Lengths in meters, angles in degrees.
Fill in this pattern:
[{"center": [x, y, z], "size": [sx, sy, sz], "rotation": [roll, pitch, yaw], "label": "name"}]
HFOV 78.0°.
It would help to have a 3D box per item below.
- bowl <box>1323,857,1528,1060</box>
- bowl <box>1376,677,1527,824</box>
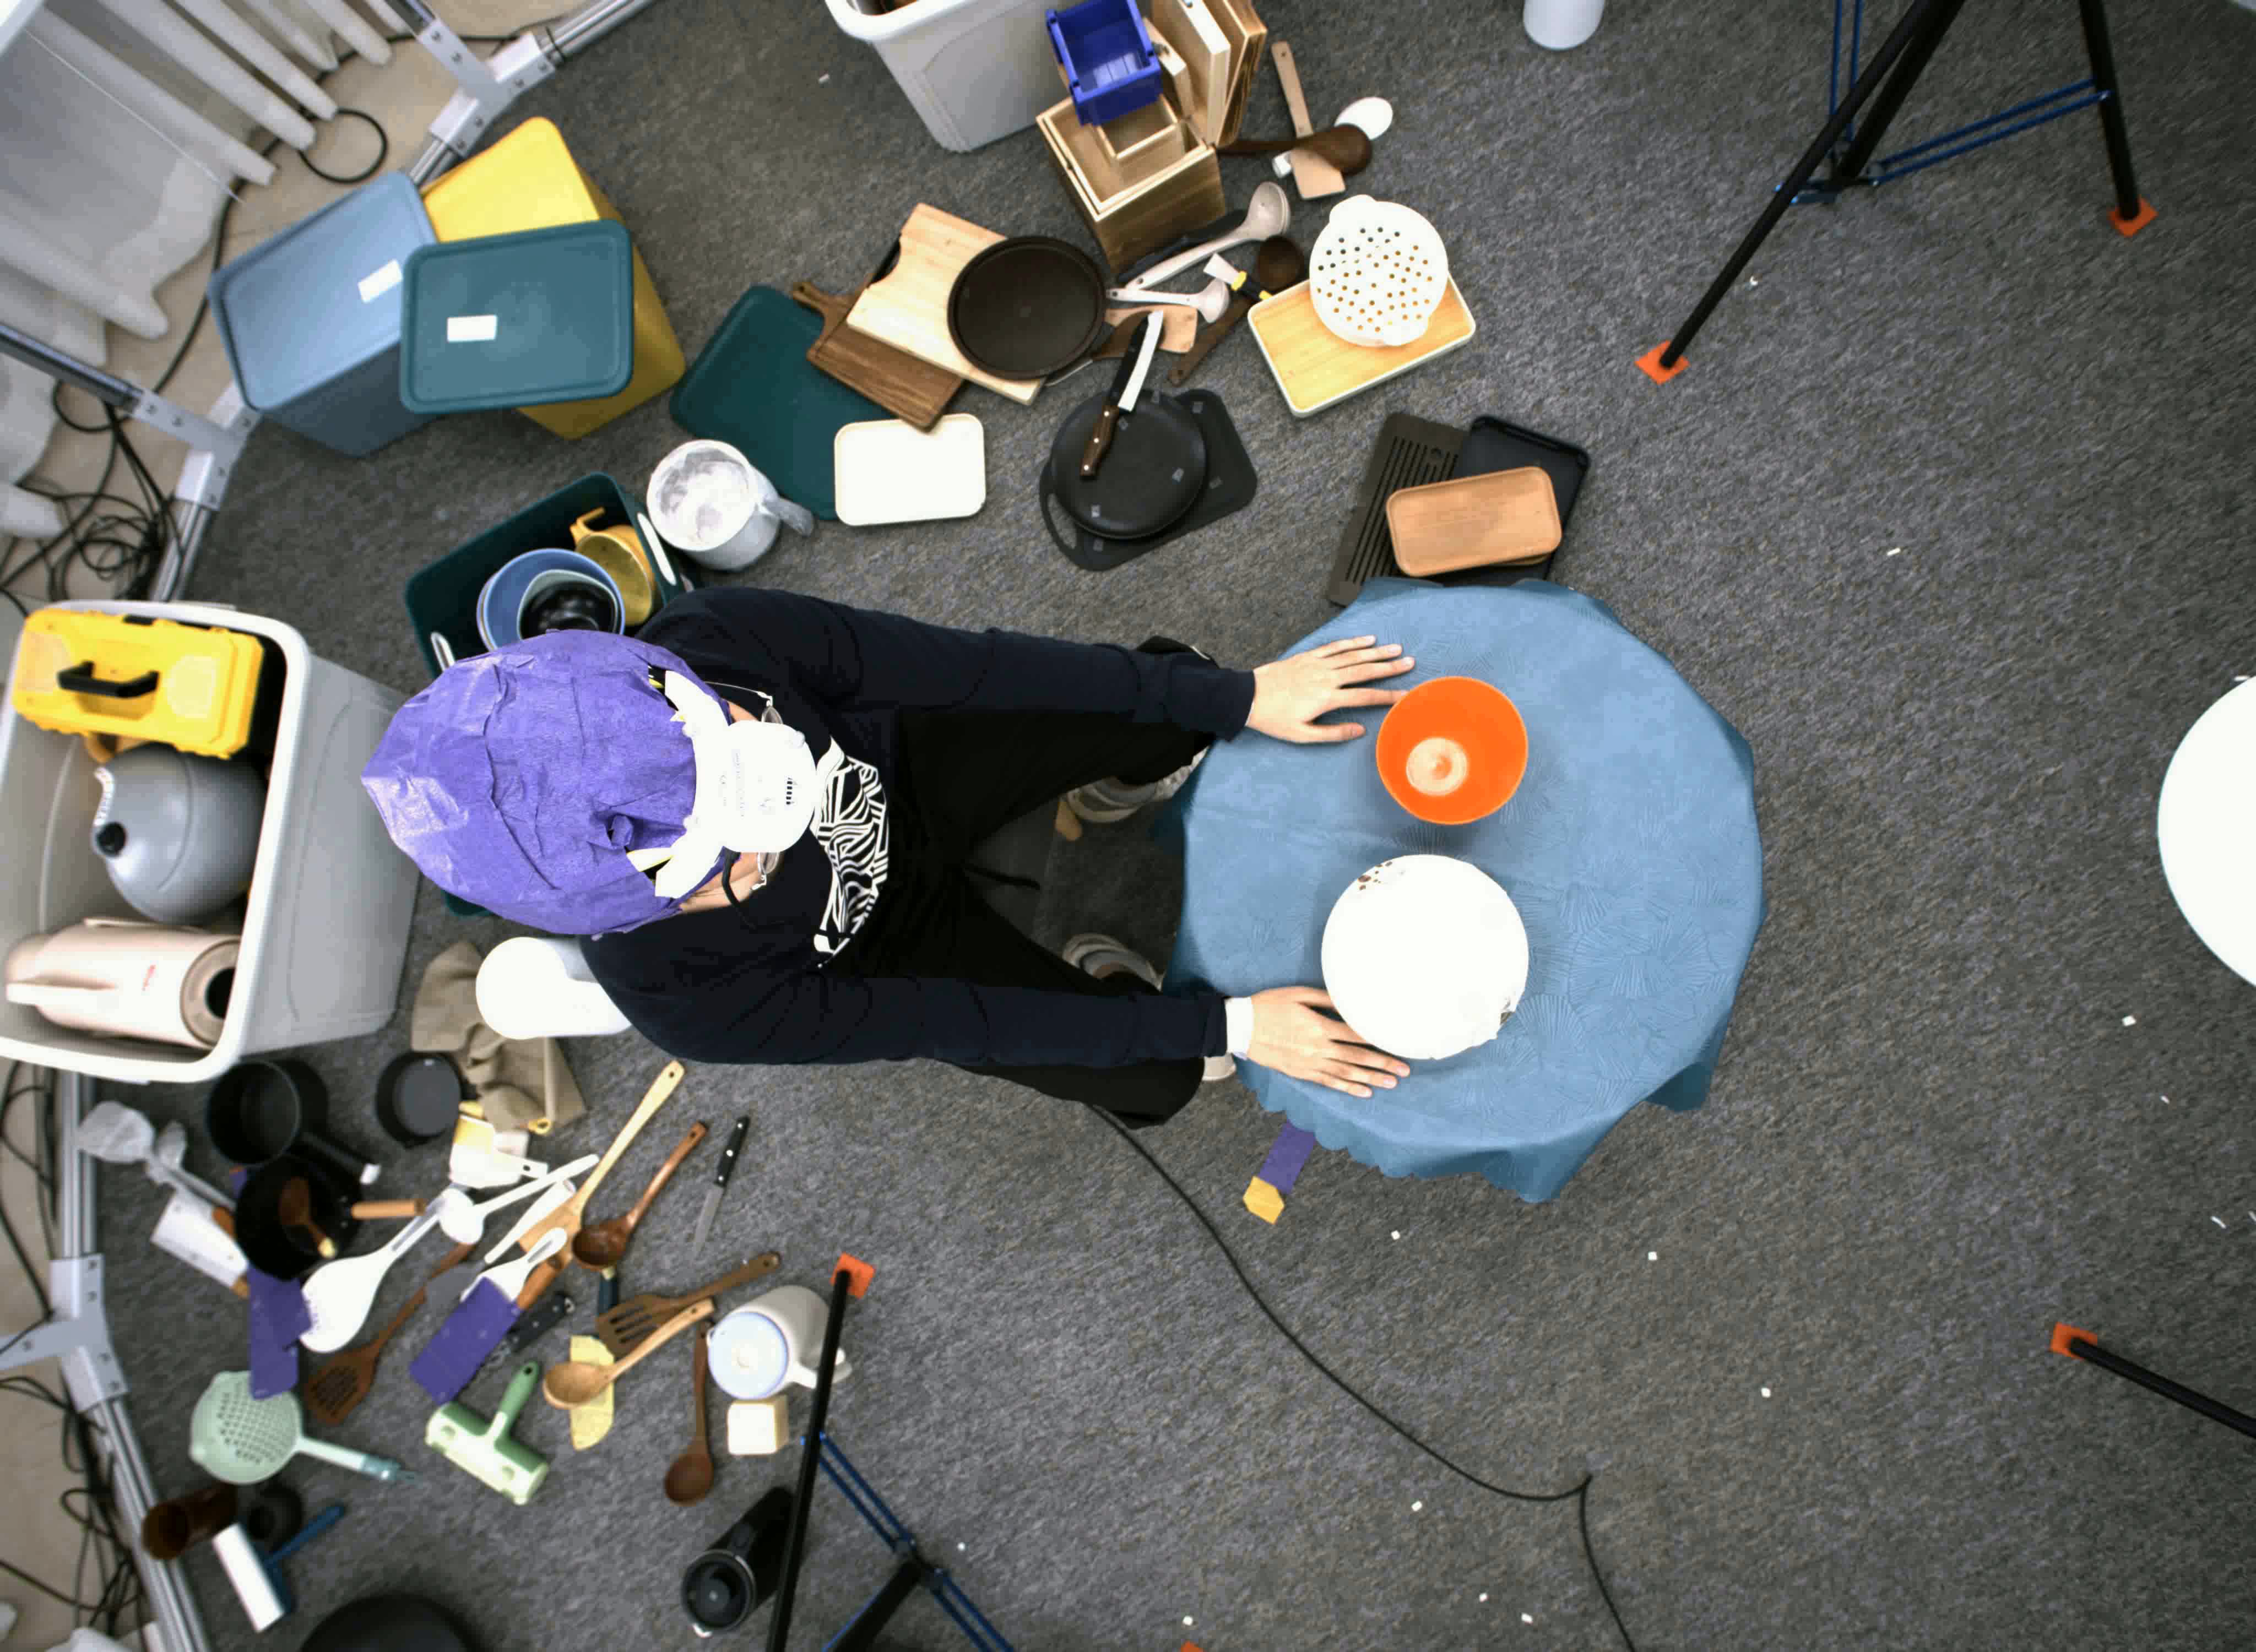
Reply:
[{"center": [0.306, 0.135, 1.416], "size": [0.205, 0.078, 0.202], "rotation": [-2, 84, 16], "label": "bowl"}, {"center": [0.330, -0.072, 1.407], "size": [0.148, 0.104, 0.147], "rotation": [-1, 86, 12], "label": "bowl"}]
